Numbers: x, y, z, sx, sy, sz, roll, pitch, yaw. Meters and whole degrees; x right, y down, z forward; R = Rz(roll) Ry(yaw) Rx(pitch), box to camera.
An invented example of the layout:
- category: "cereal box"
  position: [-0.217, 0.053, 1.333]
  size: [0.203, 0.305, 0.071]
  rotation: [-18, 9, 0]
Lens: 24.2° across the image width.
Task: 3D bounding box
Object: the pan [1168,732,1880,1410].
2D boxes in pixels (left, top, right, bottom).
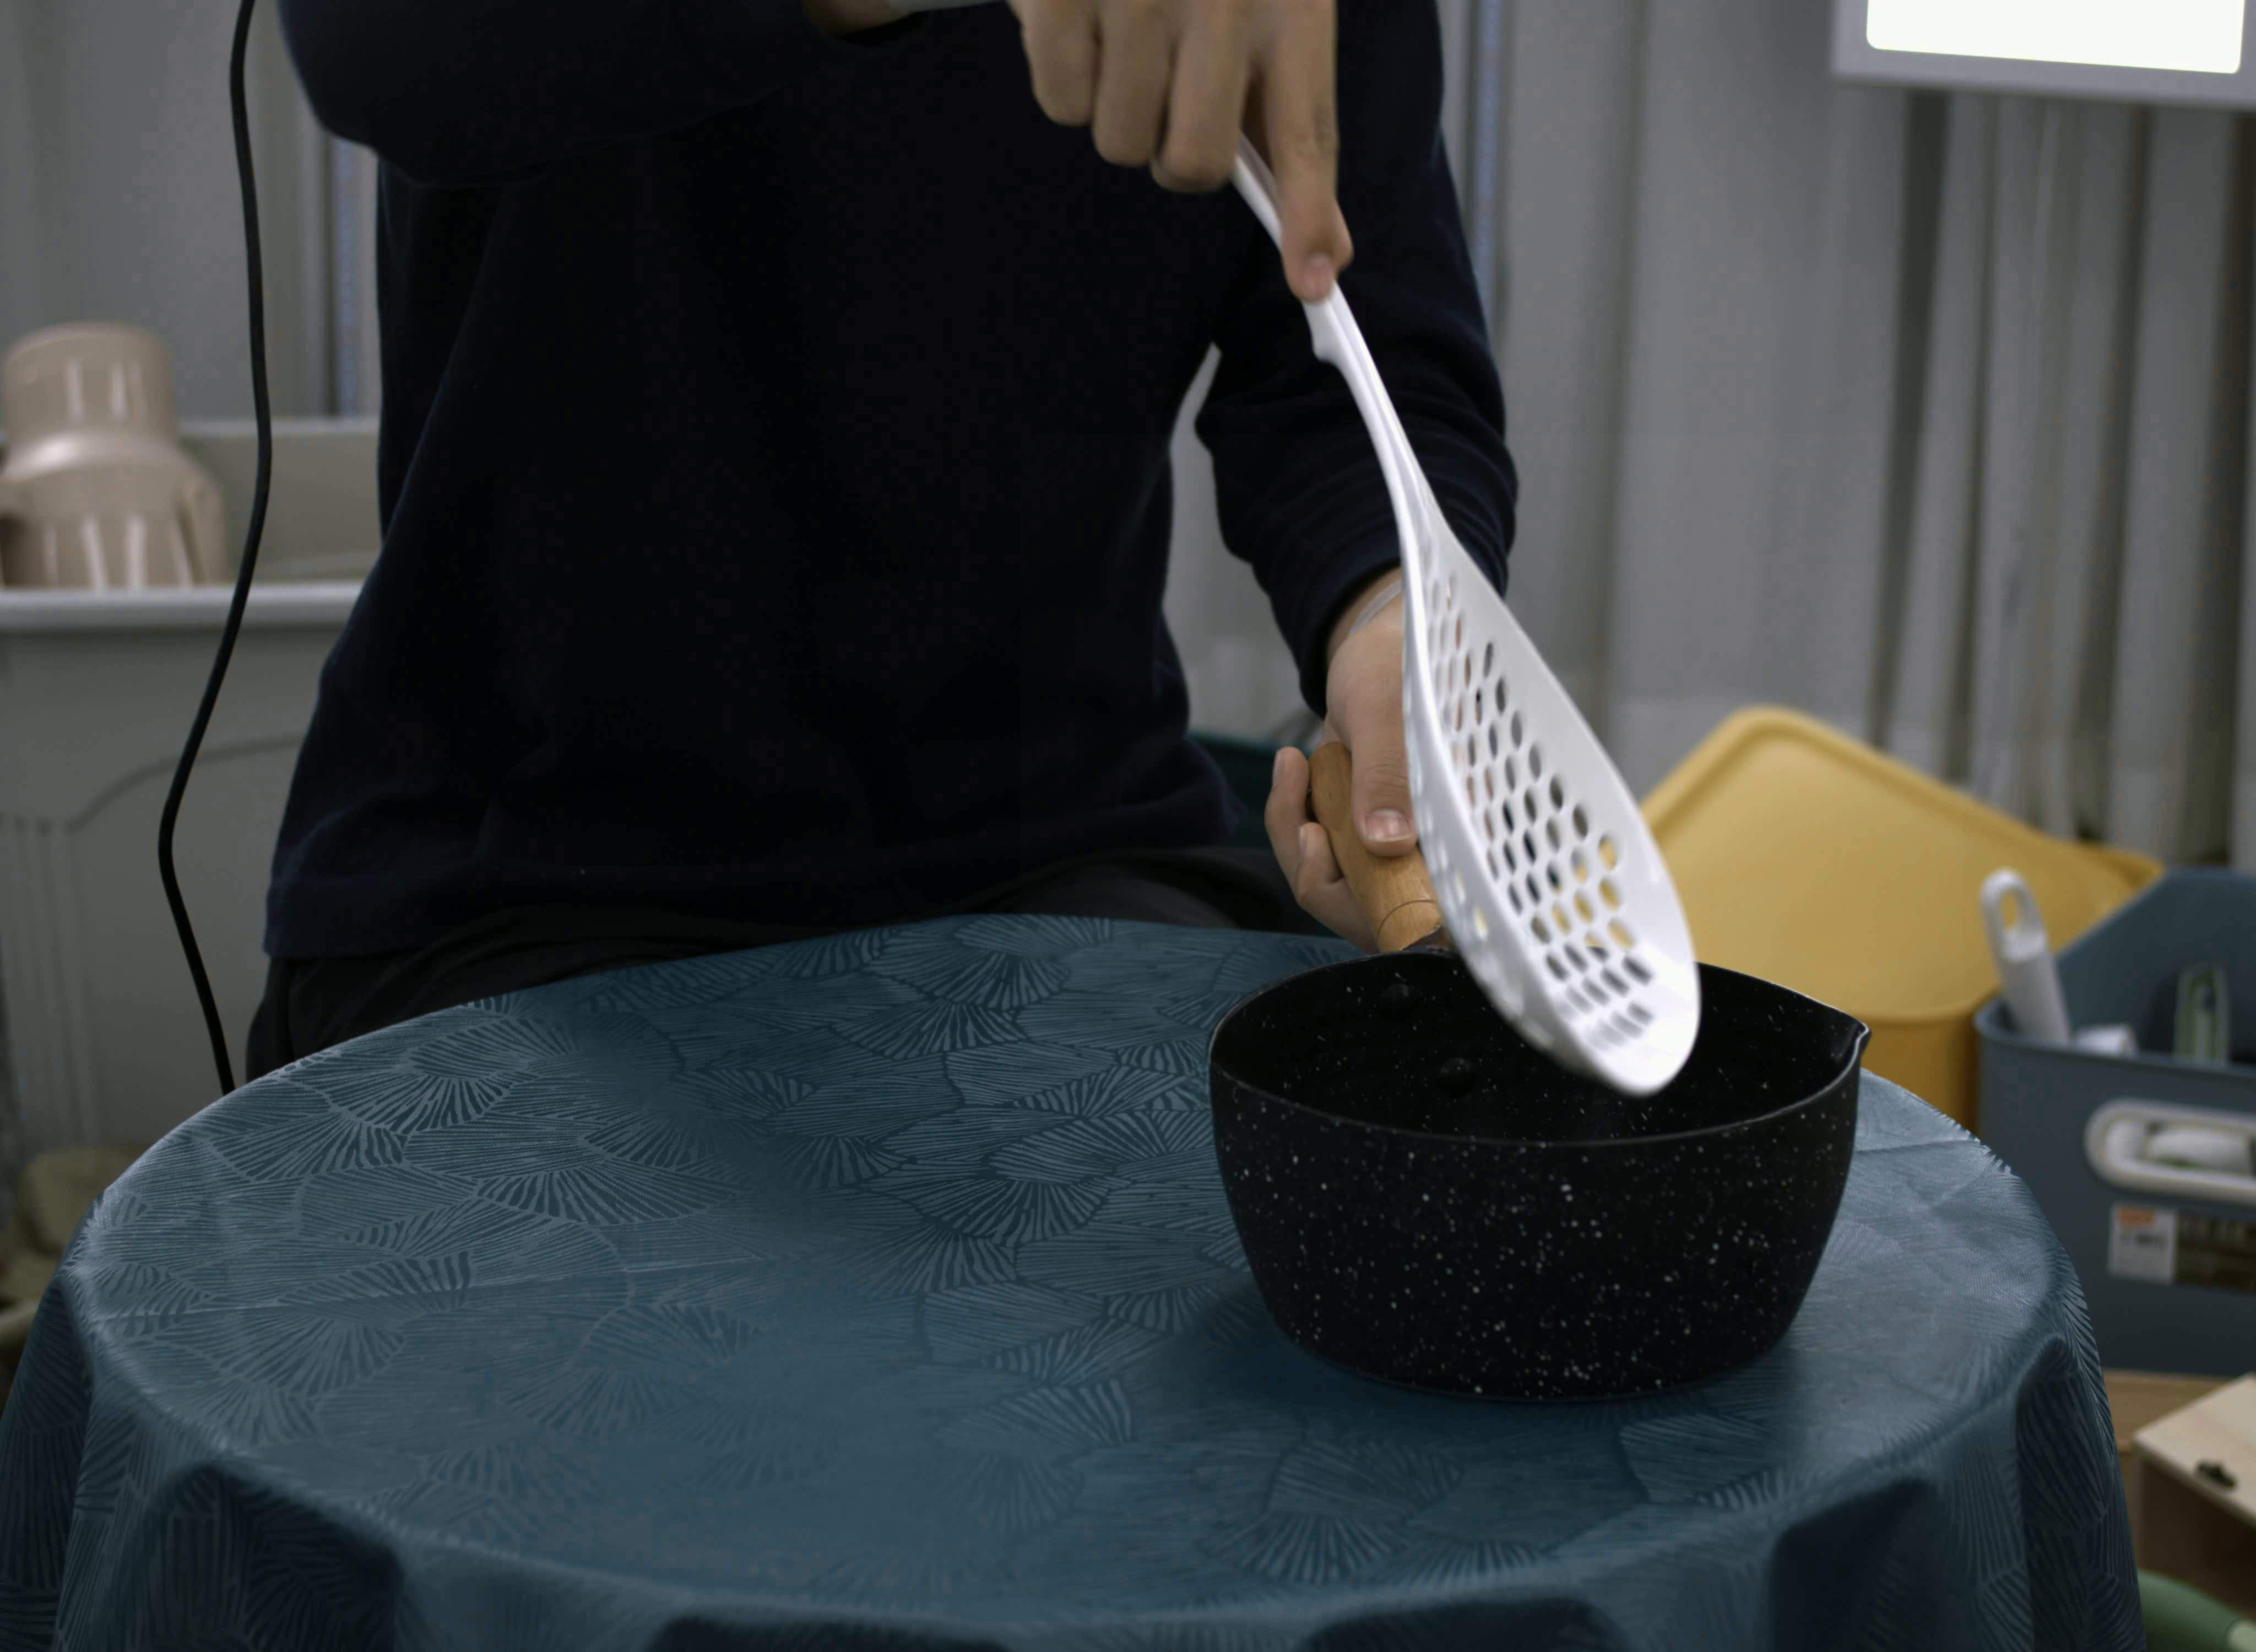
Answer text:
- category: "pan"
  position: [0.099, 0.068, 1.583]
  size: [0.207, 0.109, 0.339]
  rotation: [-4, 18, -12]

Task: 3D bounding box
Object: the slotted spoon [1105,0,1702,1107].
- category: "slotted spoon"
  position: [0.073, -0.082, 1.473]
  size: [0.050, 0.349, 0.137]
  rotation: [-18, 5, 24]
